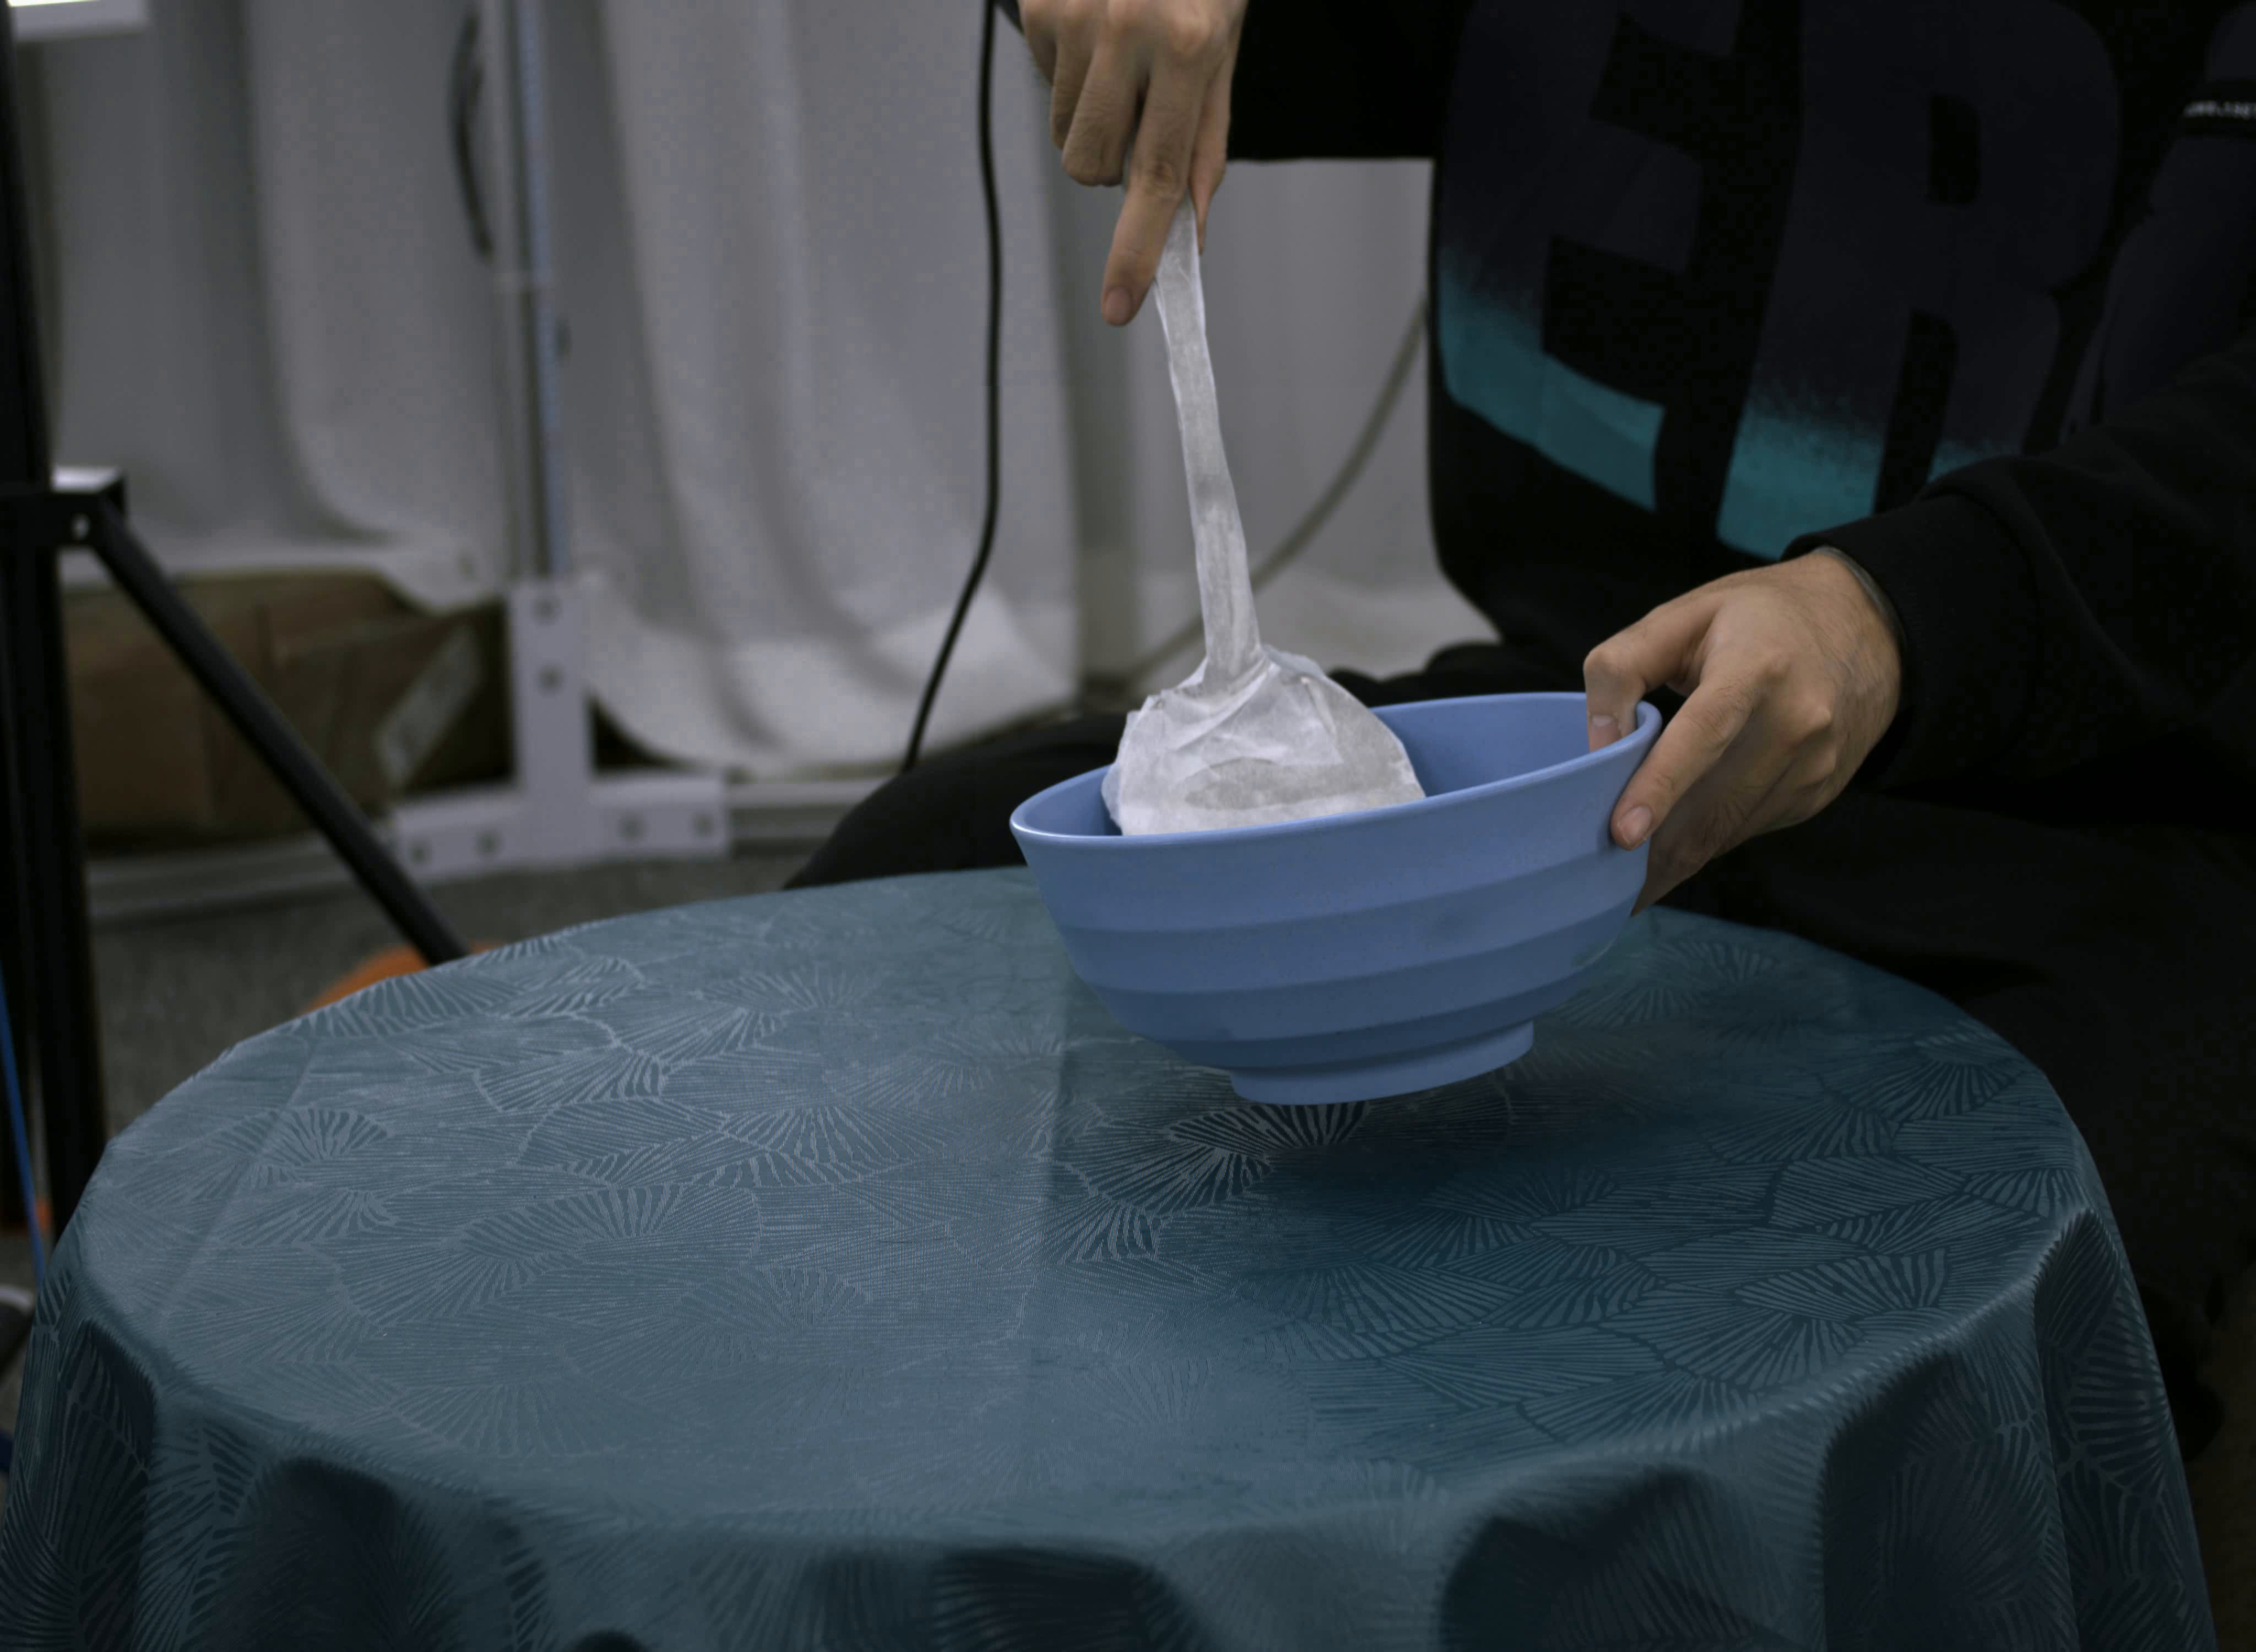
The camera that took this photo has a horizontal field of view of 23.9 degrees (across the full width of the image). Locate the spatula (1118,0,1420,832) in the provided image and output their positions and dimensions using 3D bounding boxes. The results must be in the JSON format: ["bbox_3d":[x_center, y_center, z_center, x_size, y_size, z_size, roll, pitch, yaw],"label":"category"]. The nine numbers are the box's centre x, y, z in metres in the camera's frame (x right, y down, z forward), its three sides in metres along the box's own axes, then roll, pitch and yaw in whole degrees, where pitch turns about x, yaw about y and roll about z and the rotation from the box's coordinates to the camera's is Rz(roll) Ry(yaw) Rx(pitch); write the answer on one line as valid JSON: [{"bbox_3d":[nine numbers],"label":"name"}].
[{"bbox_3d":[0.026,-0.135,1.688,0.098,0.369,0.044,-6,-20,-6],"label":"spatula"}]

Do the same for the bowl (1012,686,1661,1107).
[{"bbox_3d":[0.069,0.026,1.585,0.195,0.095,0.197,-11,9,0],"label":"bowl"}]
